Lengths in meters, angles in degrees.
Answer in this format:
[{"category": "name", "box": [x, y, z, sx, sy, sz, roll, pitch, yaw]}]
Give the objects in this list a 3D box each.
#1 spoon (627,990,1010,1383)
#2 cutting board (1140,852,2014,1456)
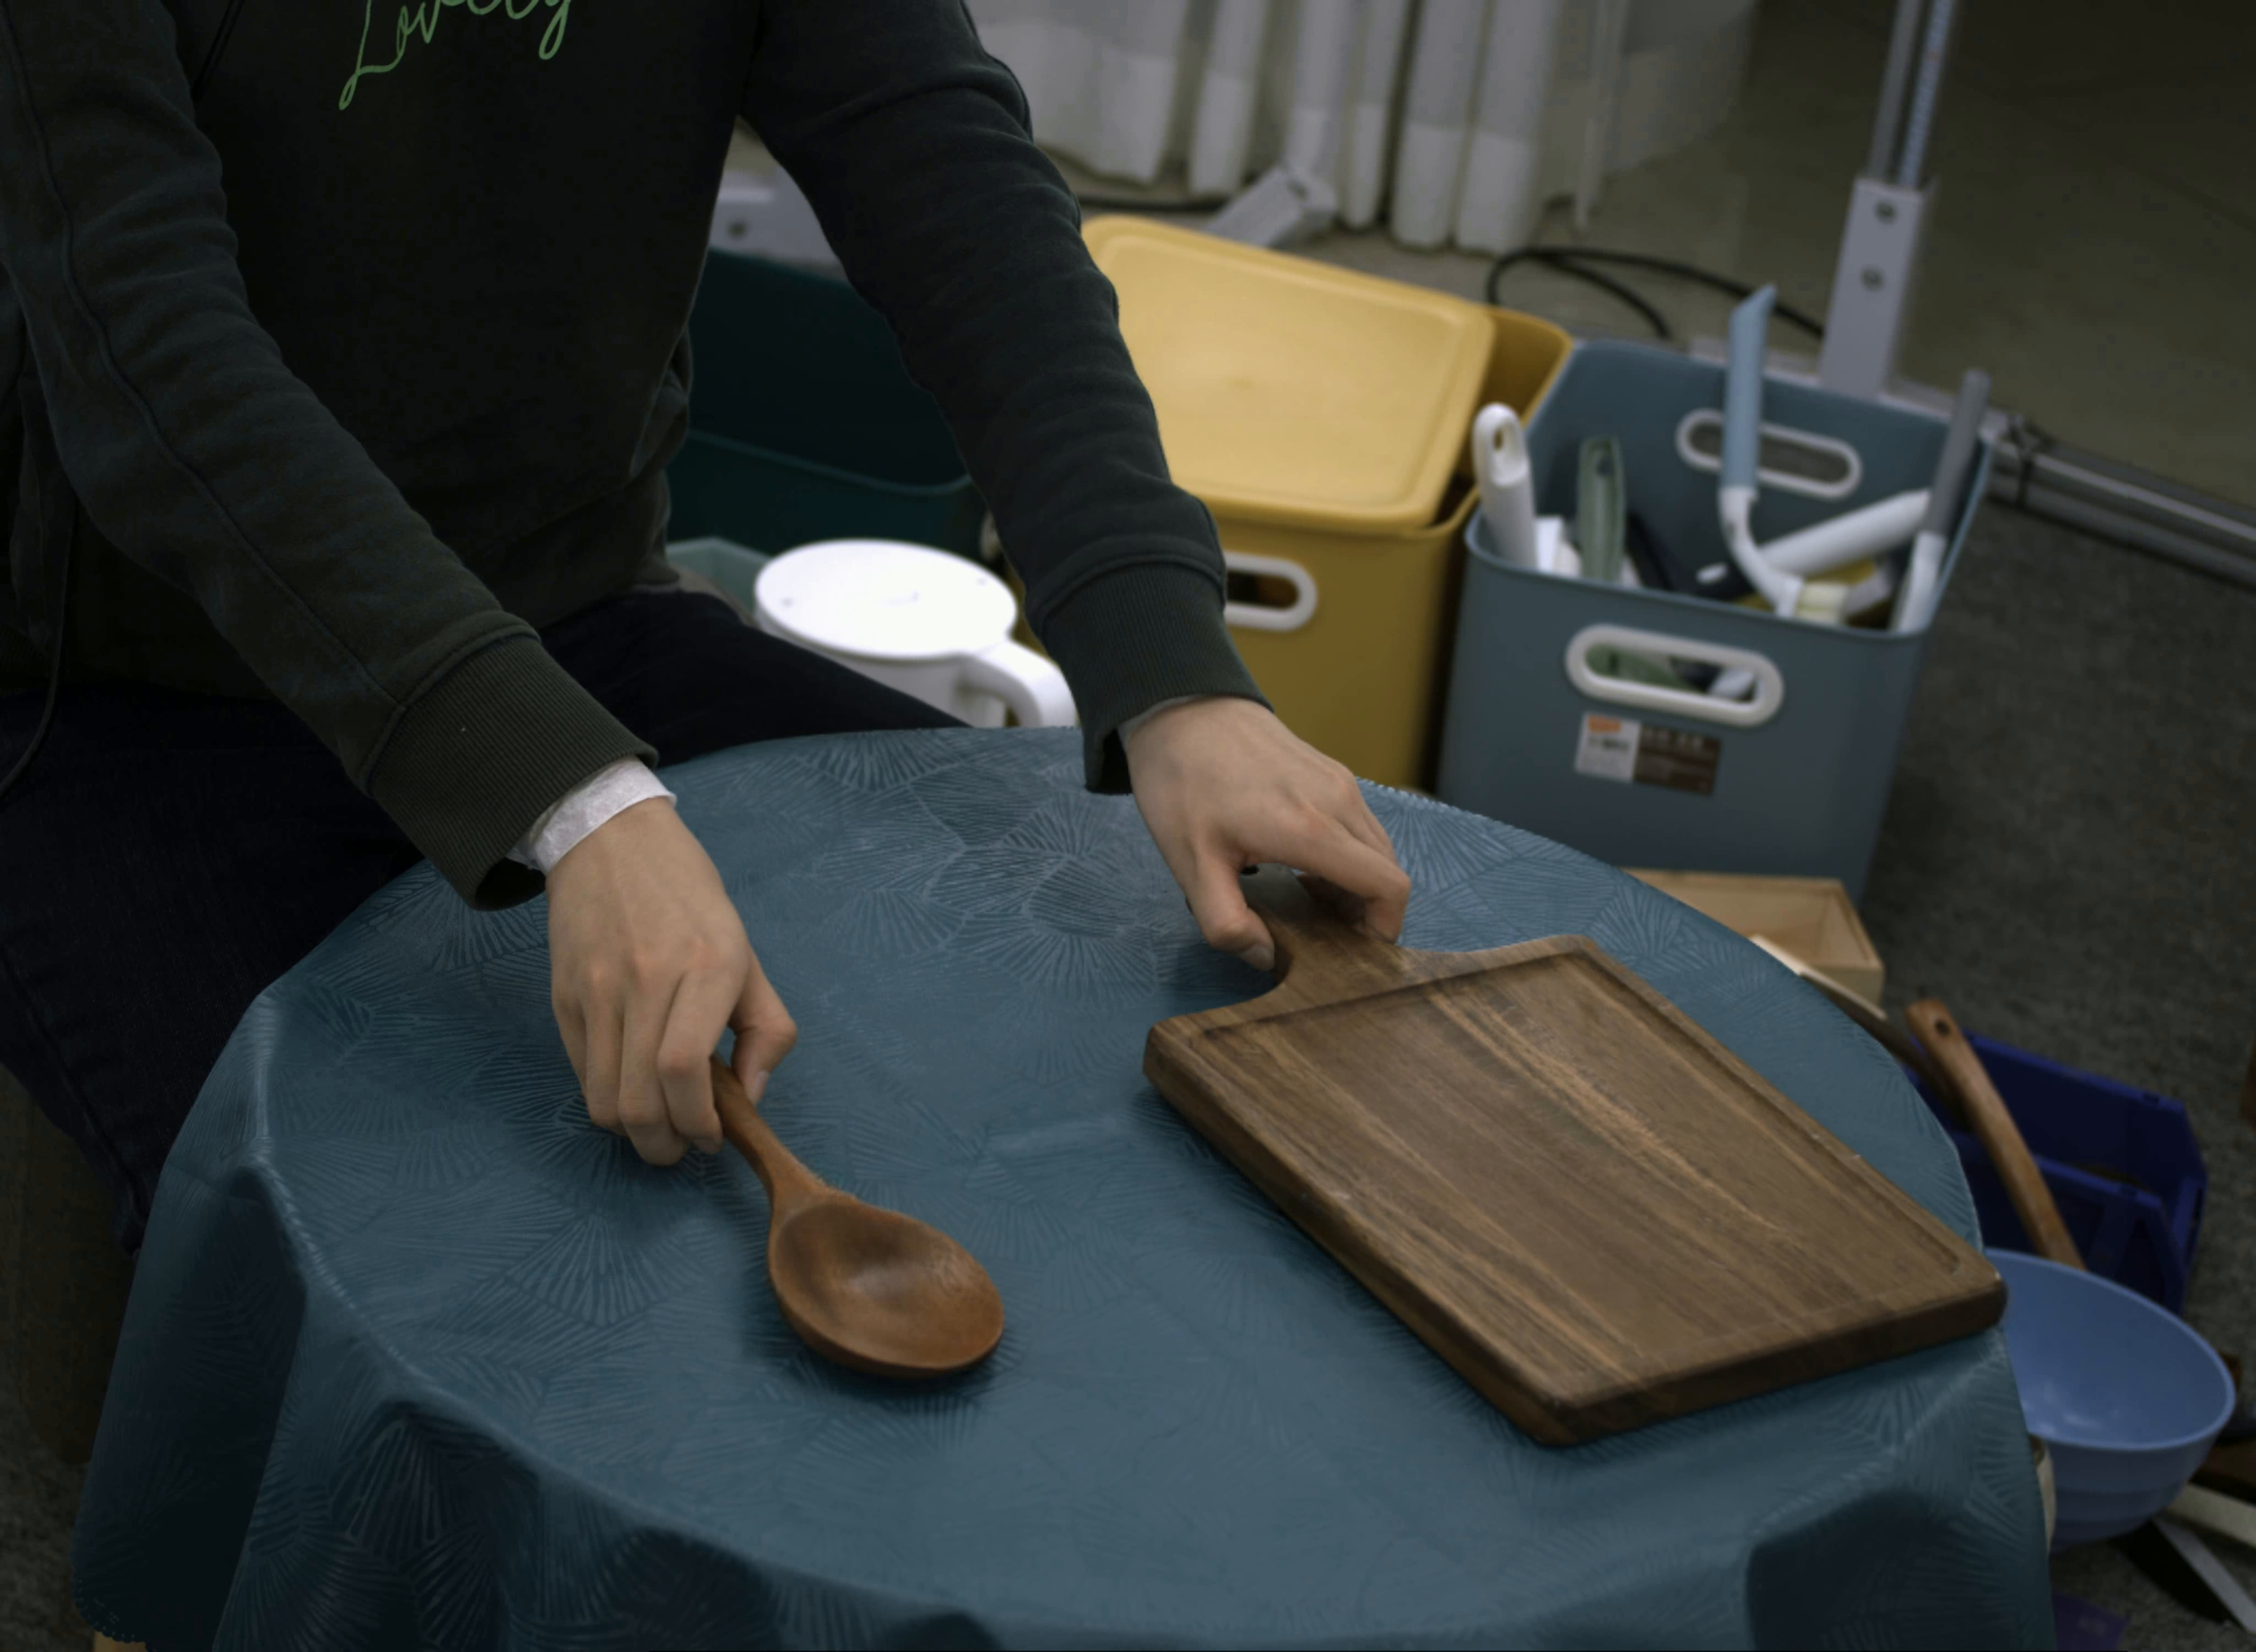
[{"category": "spoon", "box": [-0.110, 0.118, 1.748, 0.075, 0.017, 0.218, -11, 38, -30]}, {"category": "cutting board", "box": [0.124, 0.097, 1.852, 0.200, 0.023, 0.355, -12, 33, -30]}]
